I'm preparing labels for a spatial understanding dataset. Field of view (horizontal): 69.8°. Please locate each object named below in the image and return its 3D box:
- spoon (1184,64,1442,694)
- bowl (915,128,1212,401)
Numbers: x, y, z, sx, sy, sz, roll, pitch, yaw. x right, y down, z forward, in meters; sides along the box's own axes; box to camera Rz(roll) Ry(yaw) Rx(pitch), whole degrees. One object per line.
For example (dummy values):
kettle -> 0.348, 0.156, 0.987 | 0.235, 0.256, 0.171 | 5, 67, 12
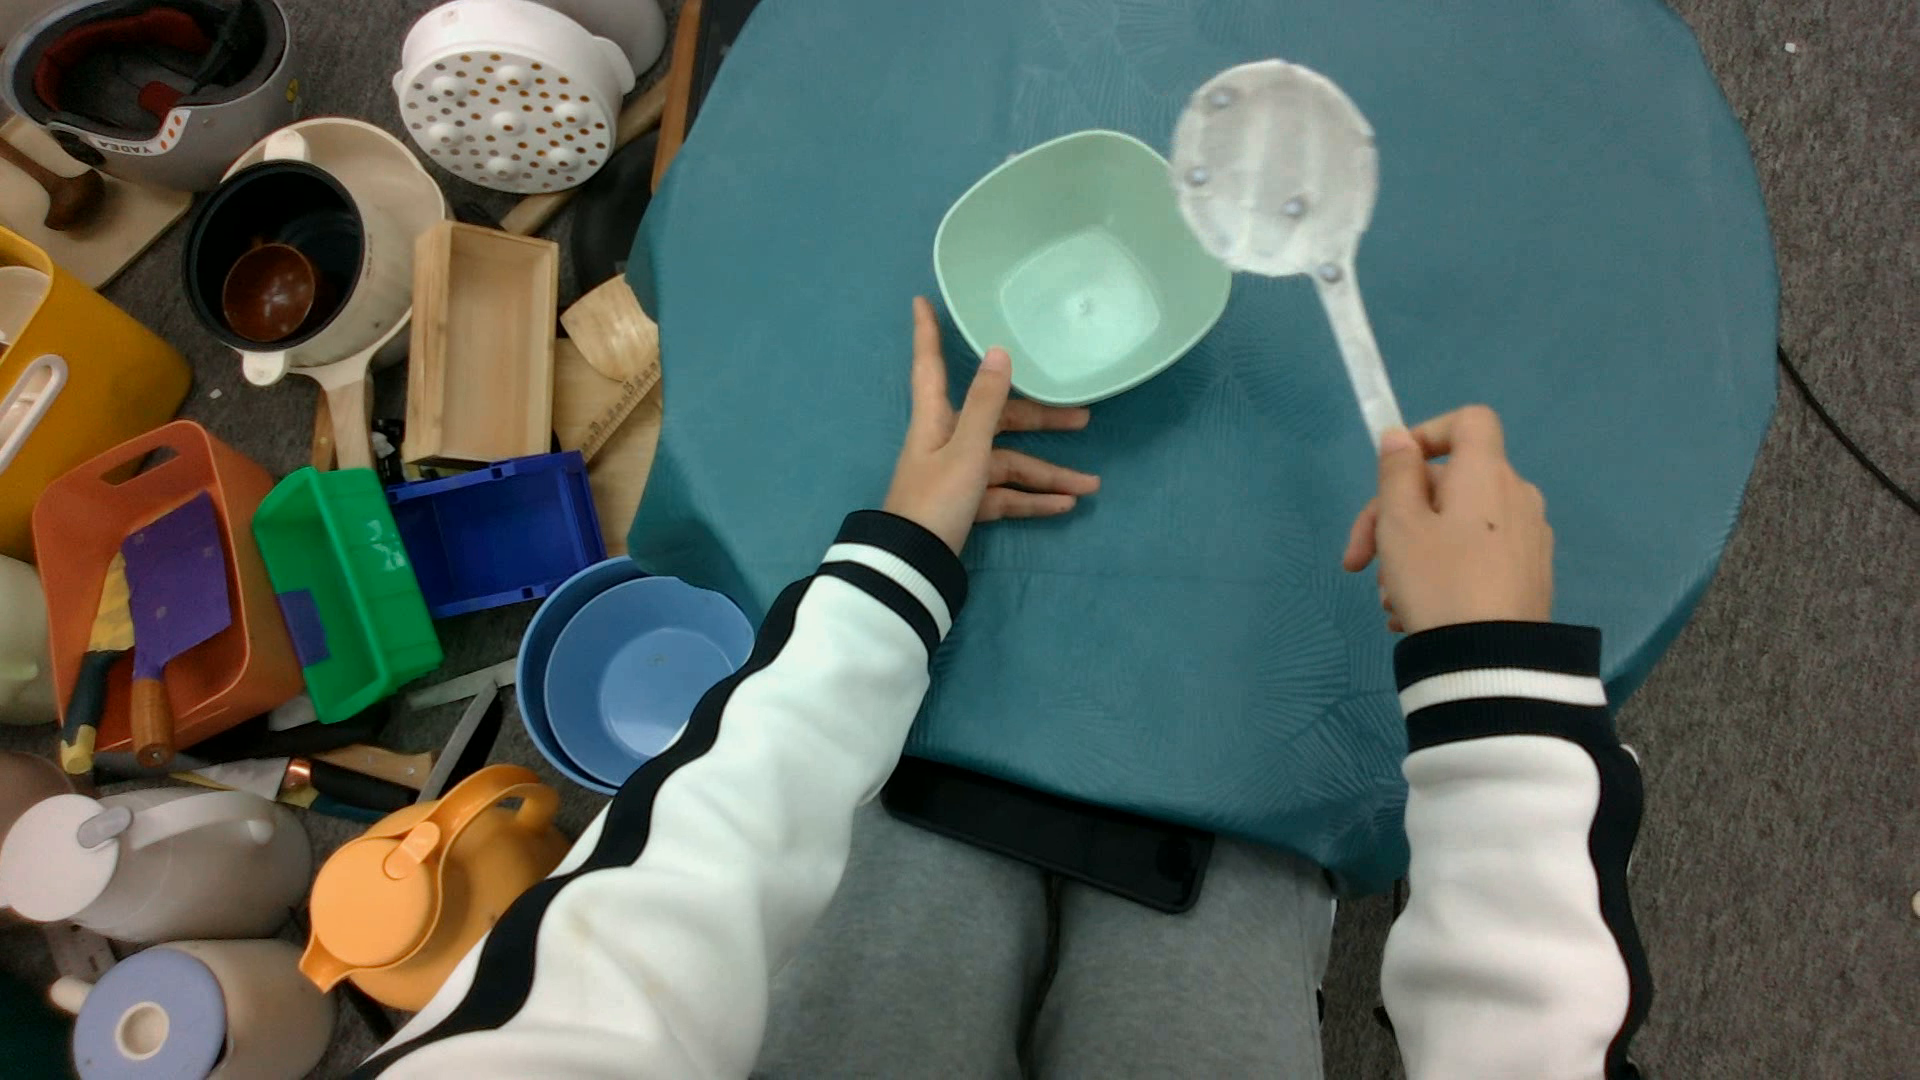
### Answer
spoon -> 0.154, -0.070, 0.594 | 0.059, 0.100, 0.278 | 7, 69, -40
bowl -> 0.053, -0.135, 0.720 | 0.151, 0.058, 0.152 | -1, 74, 3
